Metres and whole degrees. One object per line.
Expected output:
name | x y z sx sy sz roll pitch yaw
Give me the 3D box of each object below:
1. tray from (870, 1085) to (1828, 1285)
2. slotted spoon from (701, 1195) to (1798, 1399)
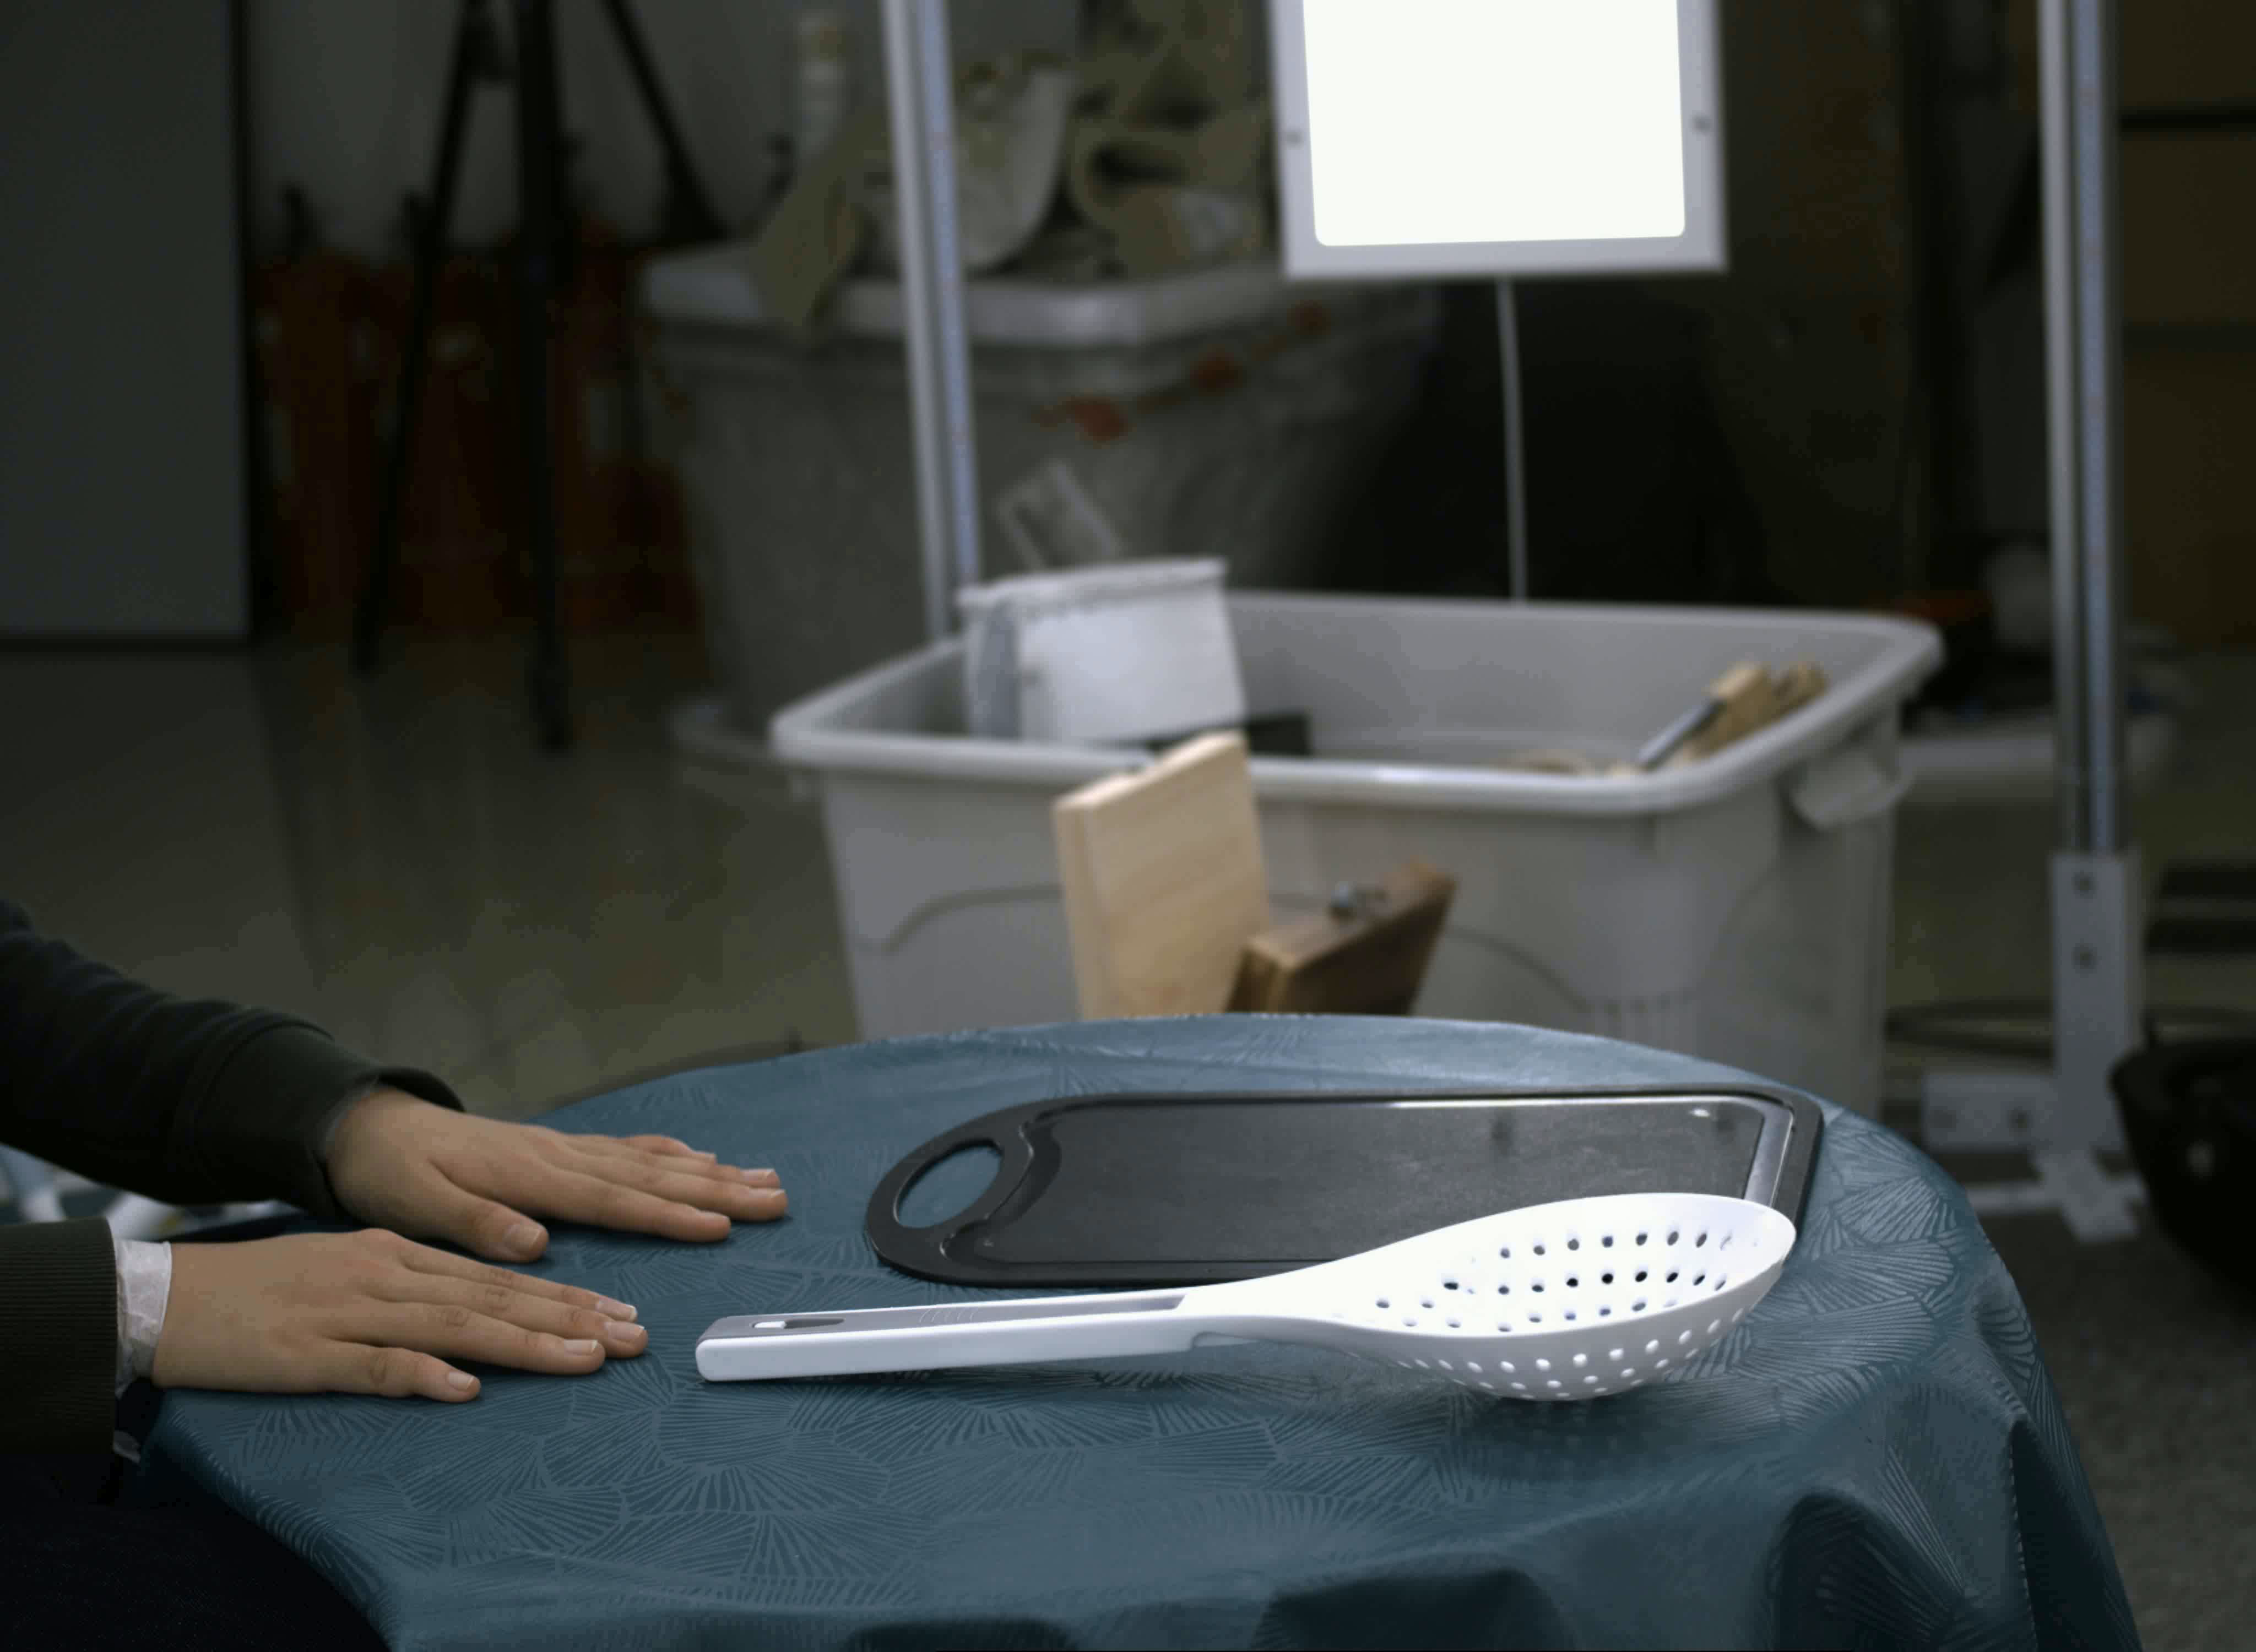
tray | 0.073 0.120 1.882 0.328 0.010 0.208 -2 14 14
slotted spoon | 0.034 0.149 1.695 0.354 0.046 0.134 -1 12 18
